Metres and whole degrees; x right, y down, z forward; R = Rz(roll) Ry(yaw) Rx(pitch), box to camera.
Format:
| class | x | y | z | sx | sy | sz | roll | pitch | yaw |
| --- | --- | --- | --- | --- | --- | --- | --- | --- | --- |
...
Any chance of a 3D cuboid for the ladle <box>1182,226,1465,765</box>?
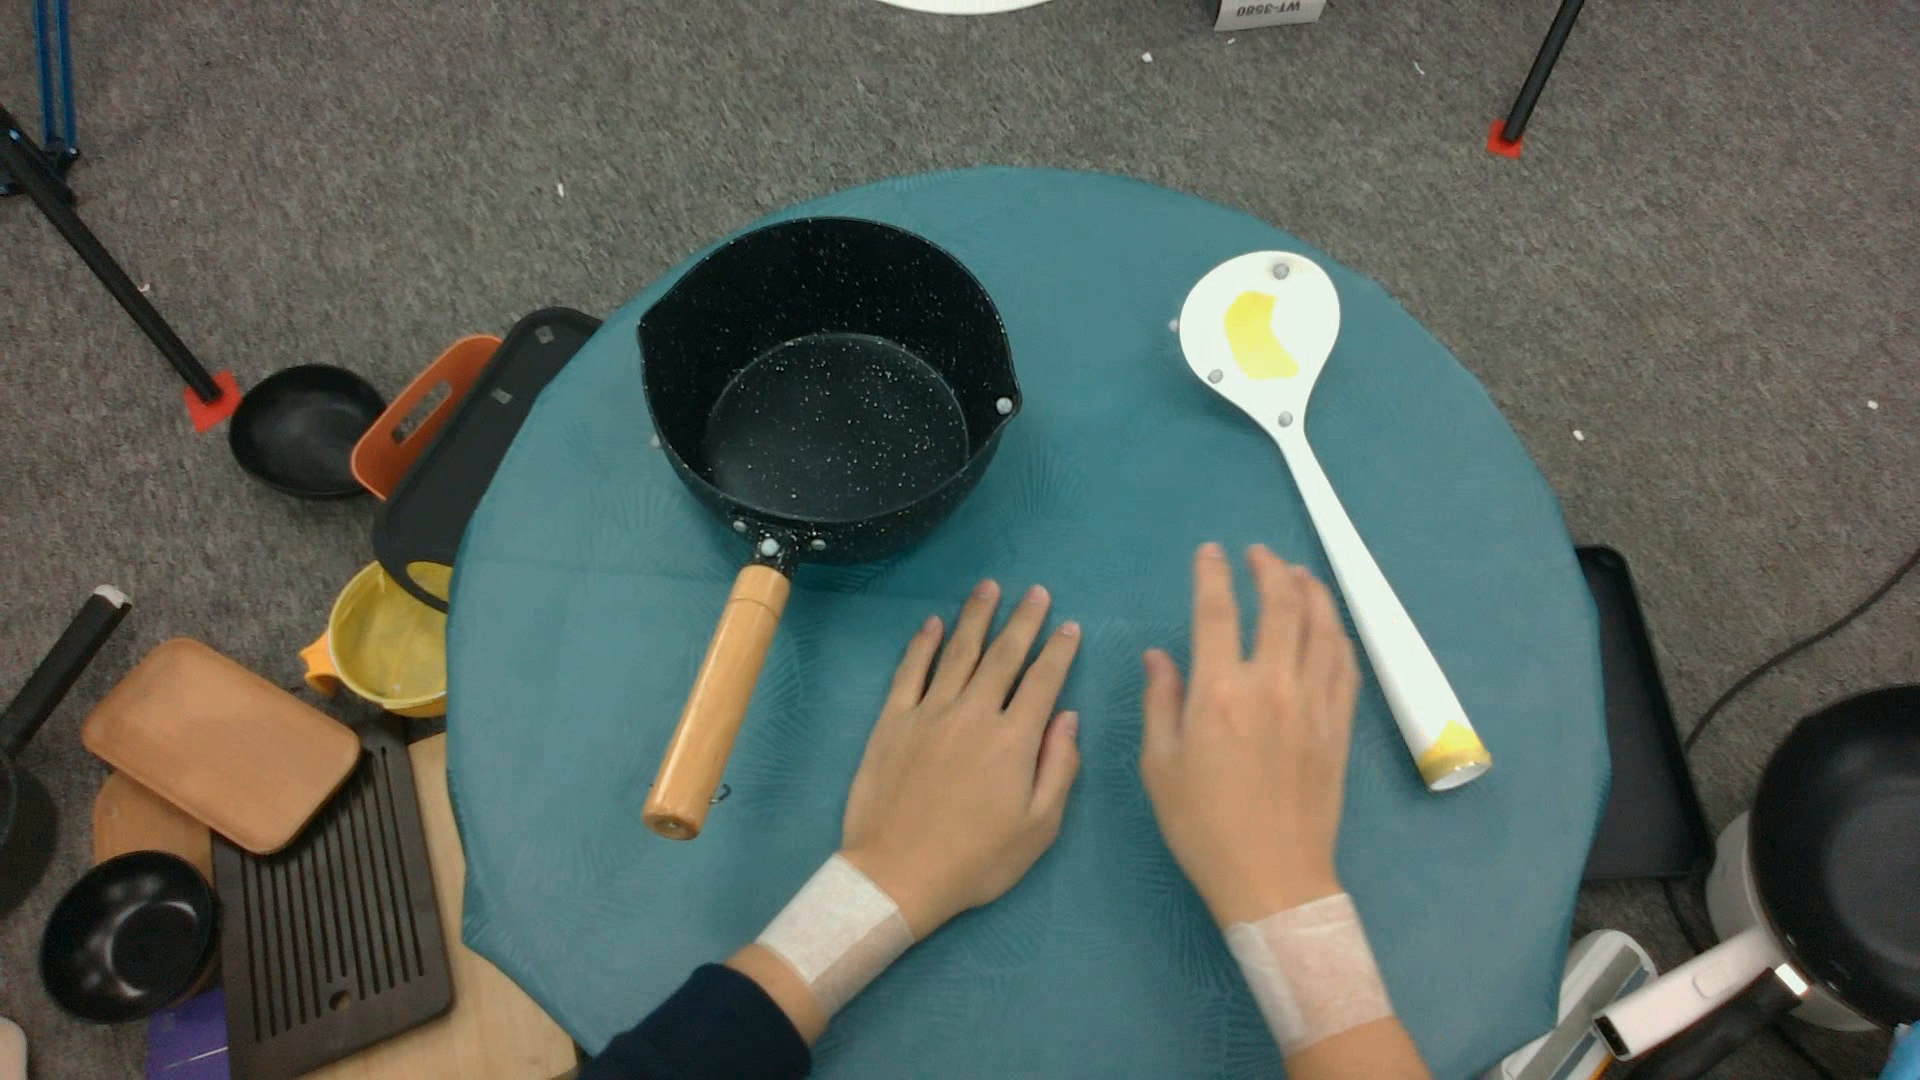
| class | x | y | z | sx | sy | sz | roll | pitch | yaw |
| --- | --- | --- | --- | --- | --- | --- | --- | --- | --- |
| ladle | 0.196 | -0.030 | 0.722 | 0.090 | 0.069 | 0.294 | -13 | 66 | -9 |

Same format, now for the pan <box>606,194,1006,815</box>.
| class | x | y | z | sx | sy | sz | roll | pitch | yaw |
| --- | --- | --- | --- | --- | --- | --- | --- | --- | --- |
| pan | -0.092 | -0.017 | 0.680 | 0.207 | 0.108 | 0.344 | 11 | 62 | 2 |
